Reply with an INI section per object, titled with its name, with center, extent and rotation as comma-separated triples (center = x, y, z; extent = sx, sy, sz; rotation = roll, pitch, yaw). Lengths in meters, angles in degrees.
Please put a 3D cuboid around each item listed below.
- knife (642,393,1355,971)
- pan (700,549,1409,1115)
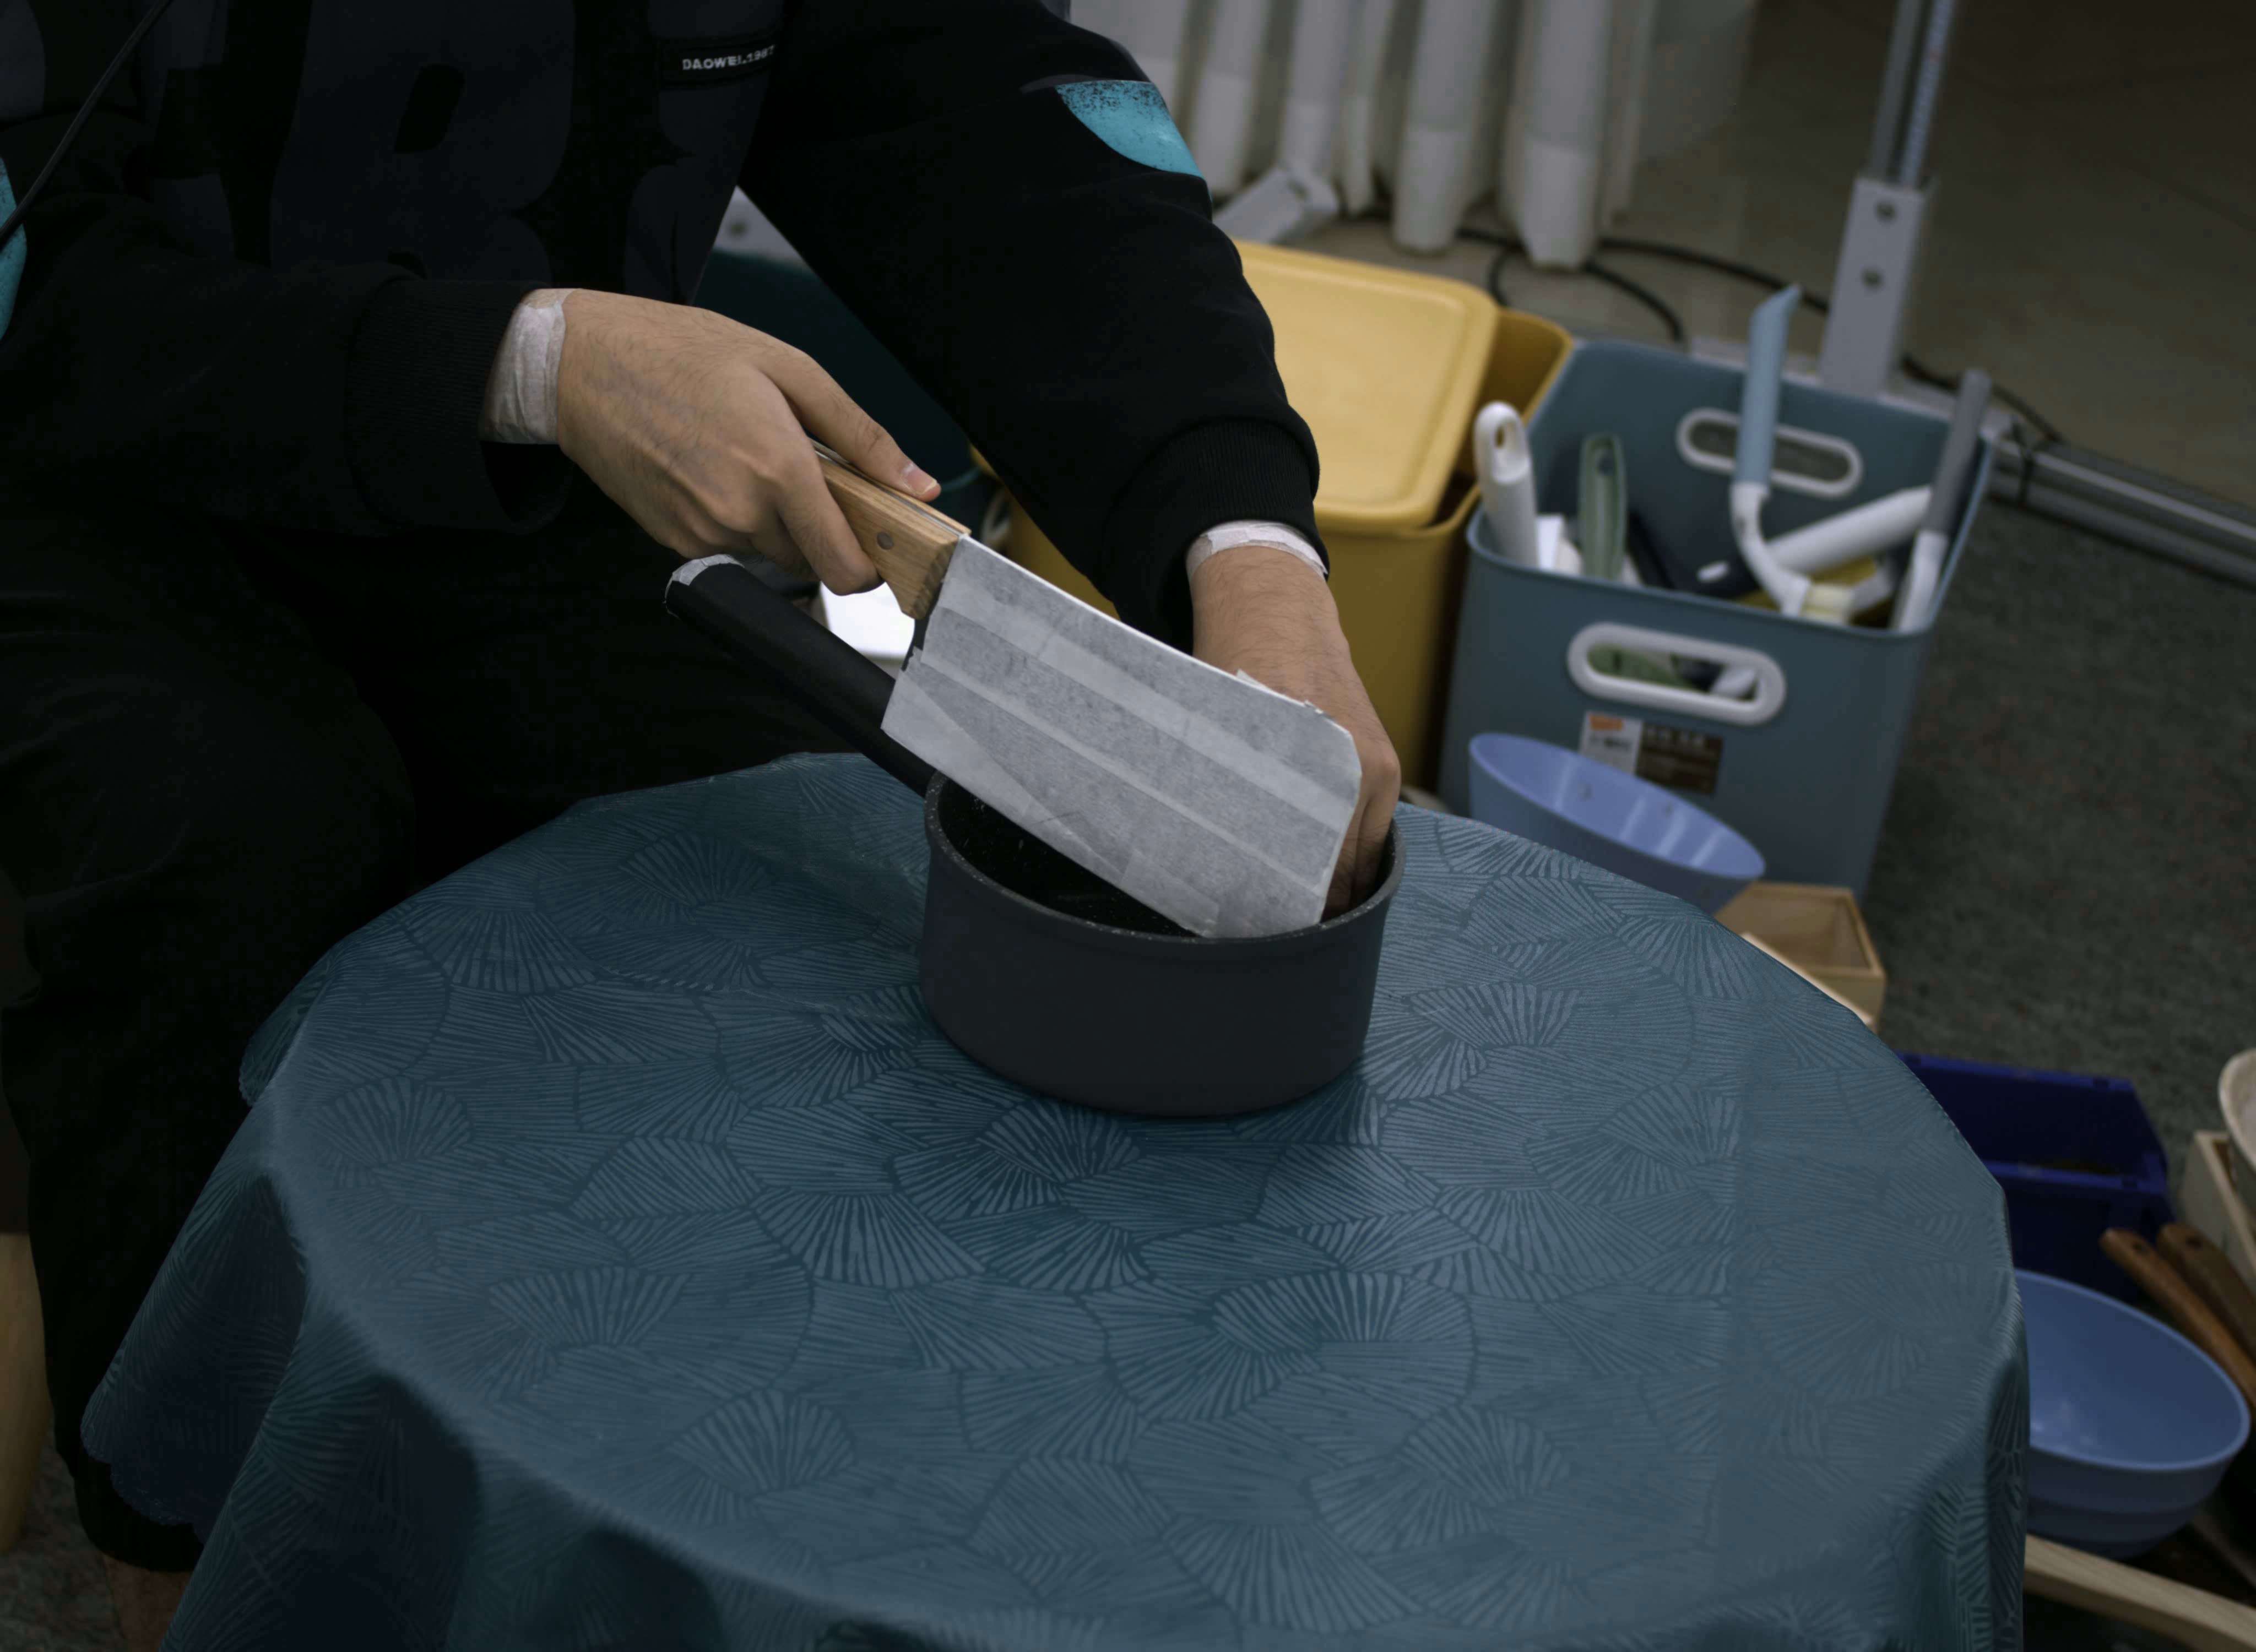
[knife]
center = -0.048, -0.063, 1.875
extent = 0.317, 0.114, 0.021
rotation = 34, 30, 20
[pan]
center = -0.045, -0.001, 1.944
extent = 0.171, 0.086, 0.331
rotation = -17, 36, -42
